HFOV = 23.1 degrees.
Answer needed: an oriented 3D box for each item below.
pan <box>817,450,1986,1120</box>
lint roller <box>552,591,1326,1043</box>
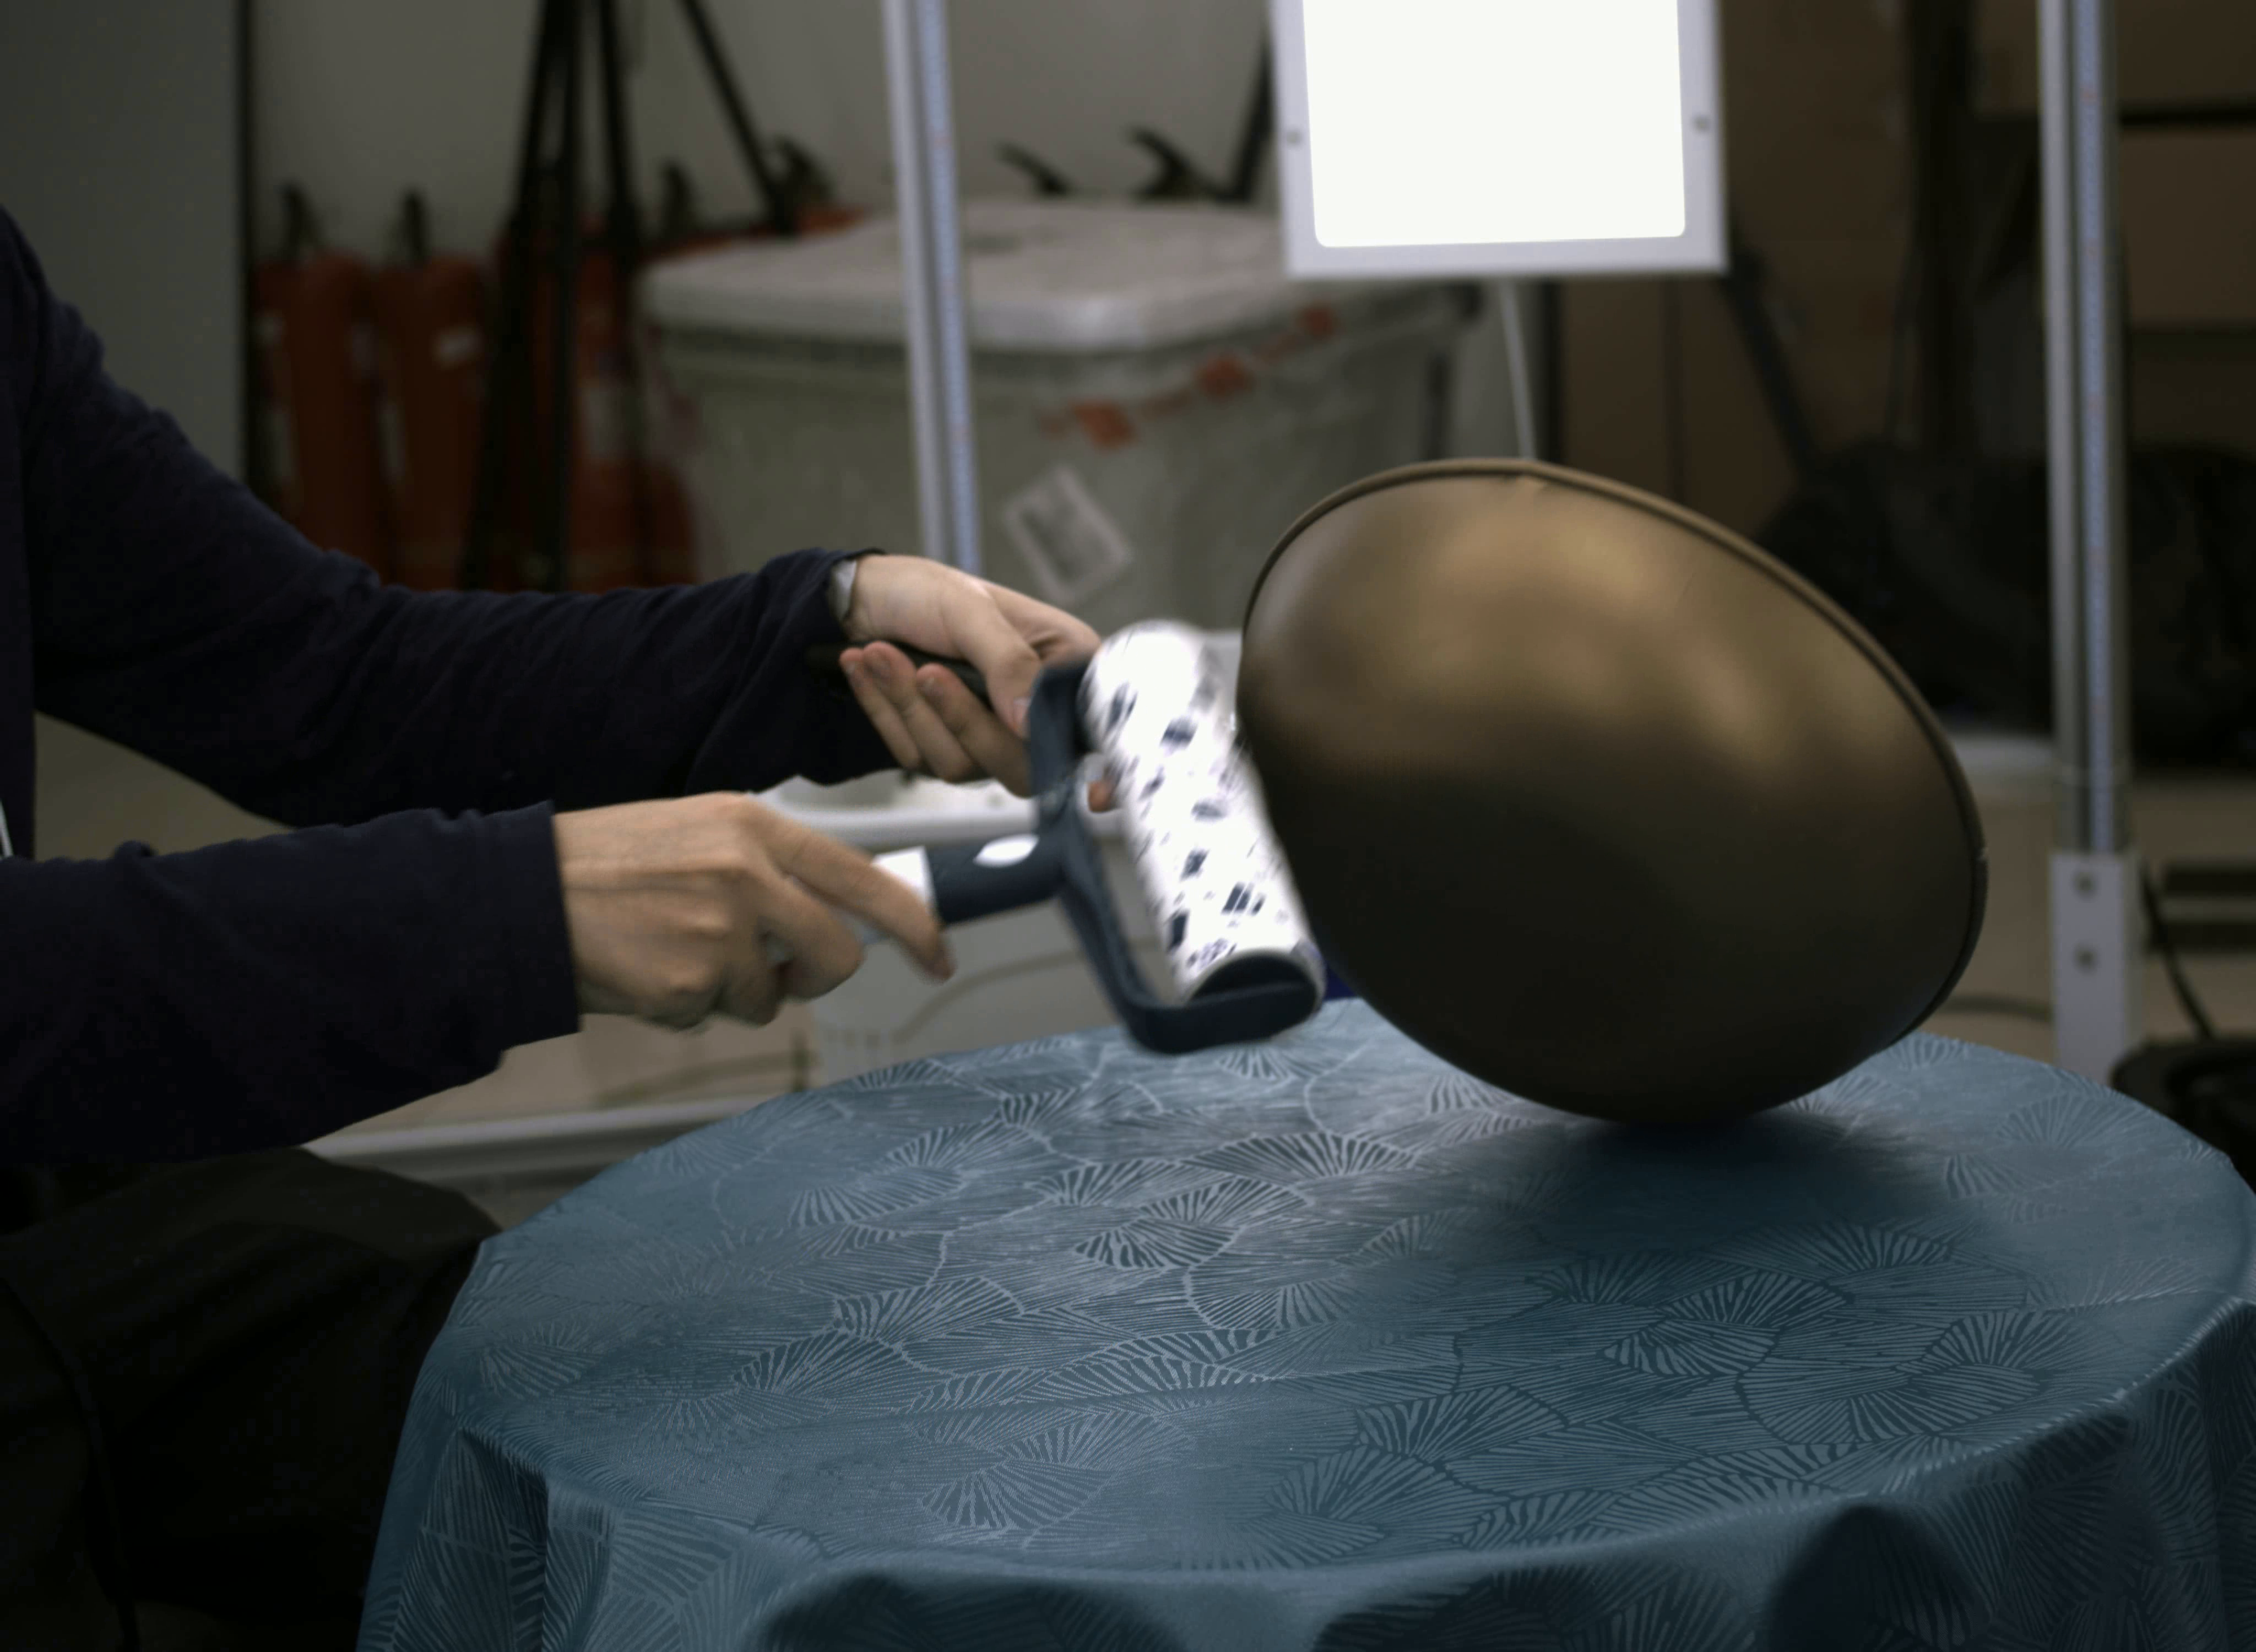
[{"bbox_3d":[0.068,-0.004,1.906,0.472,0.287,0.085,8,47,32],"label":"pan"},{"bbox_3d":[-0.071,0.018,1.814,0.246,0.050,0.177,-14,48,-2],"label":"lint roller"}]
